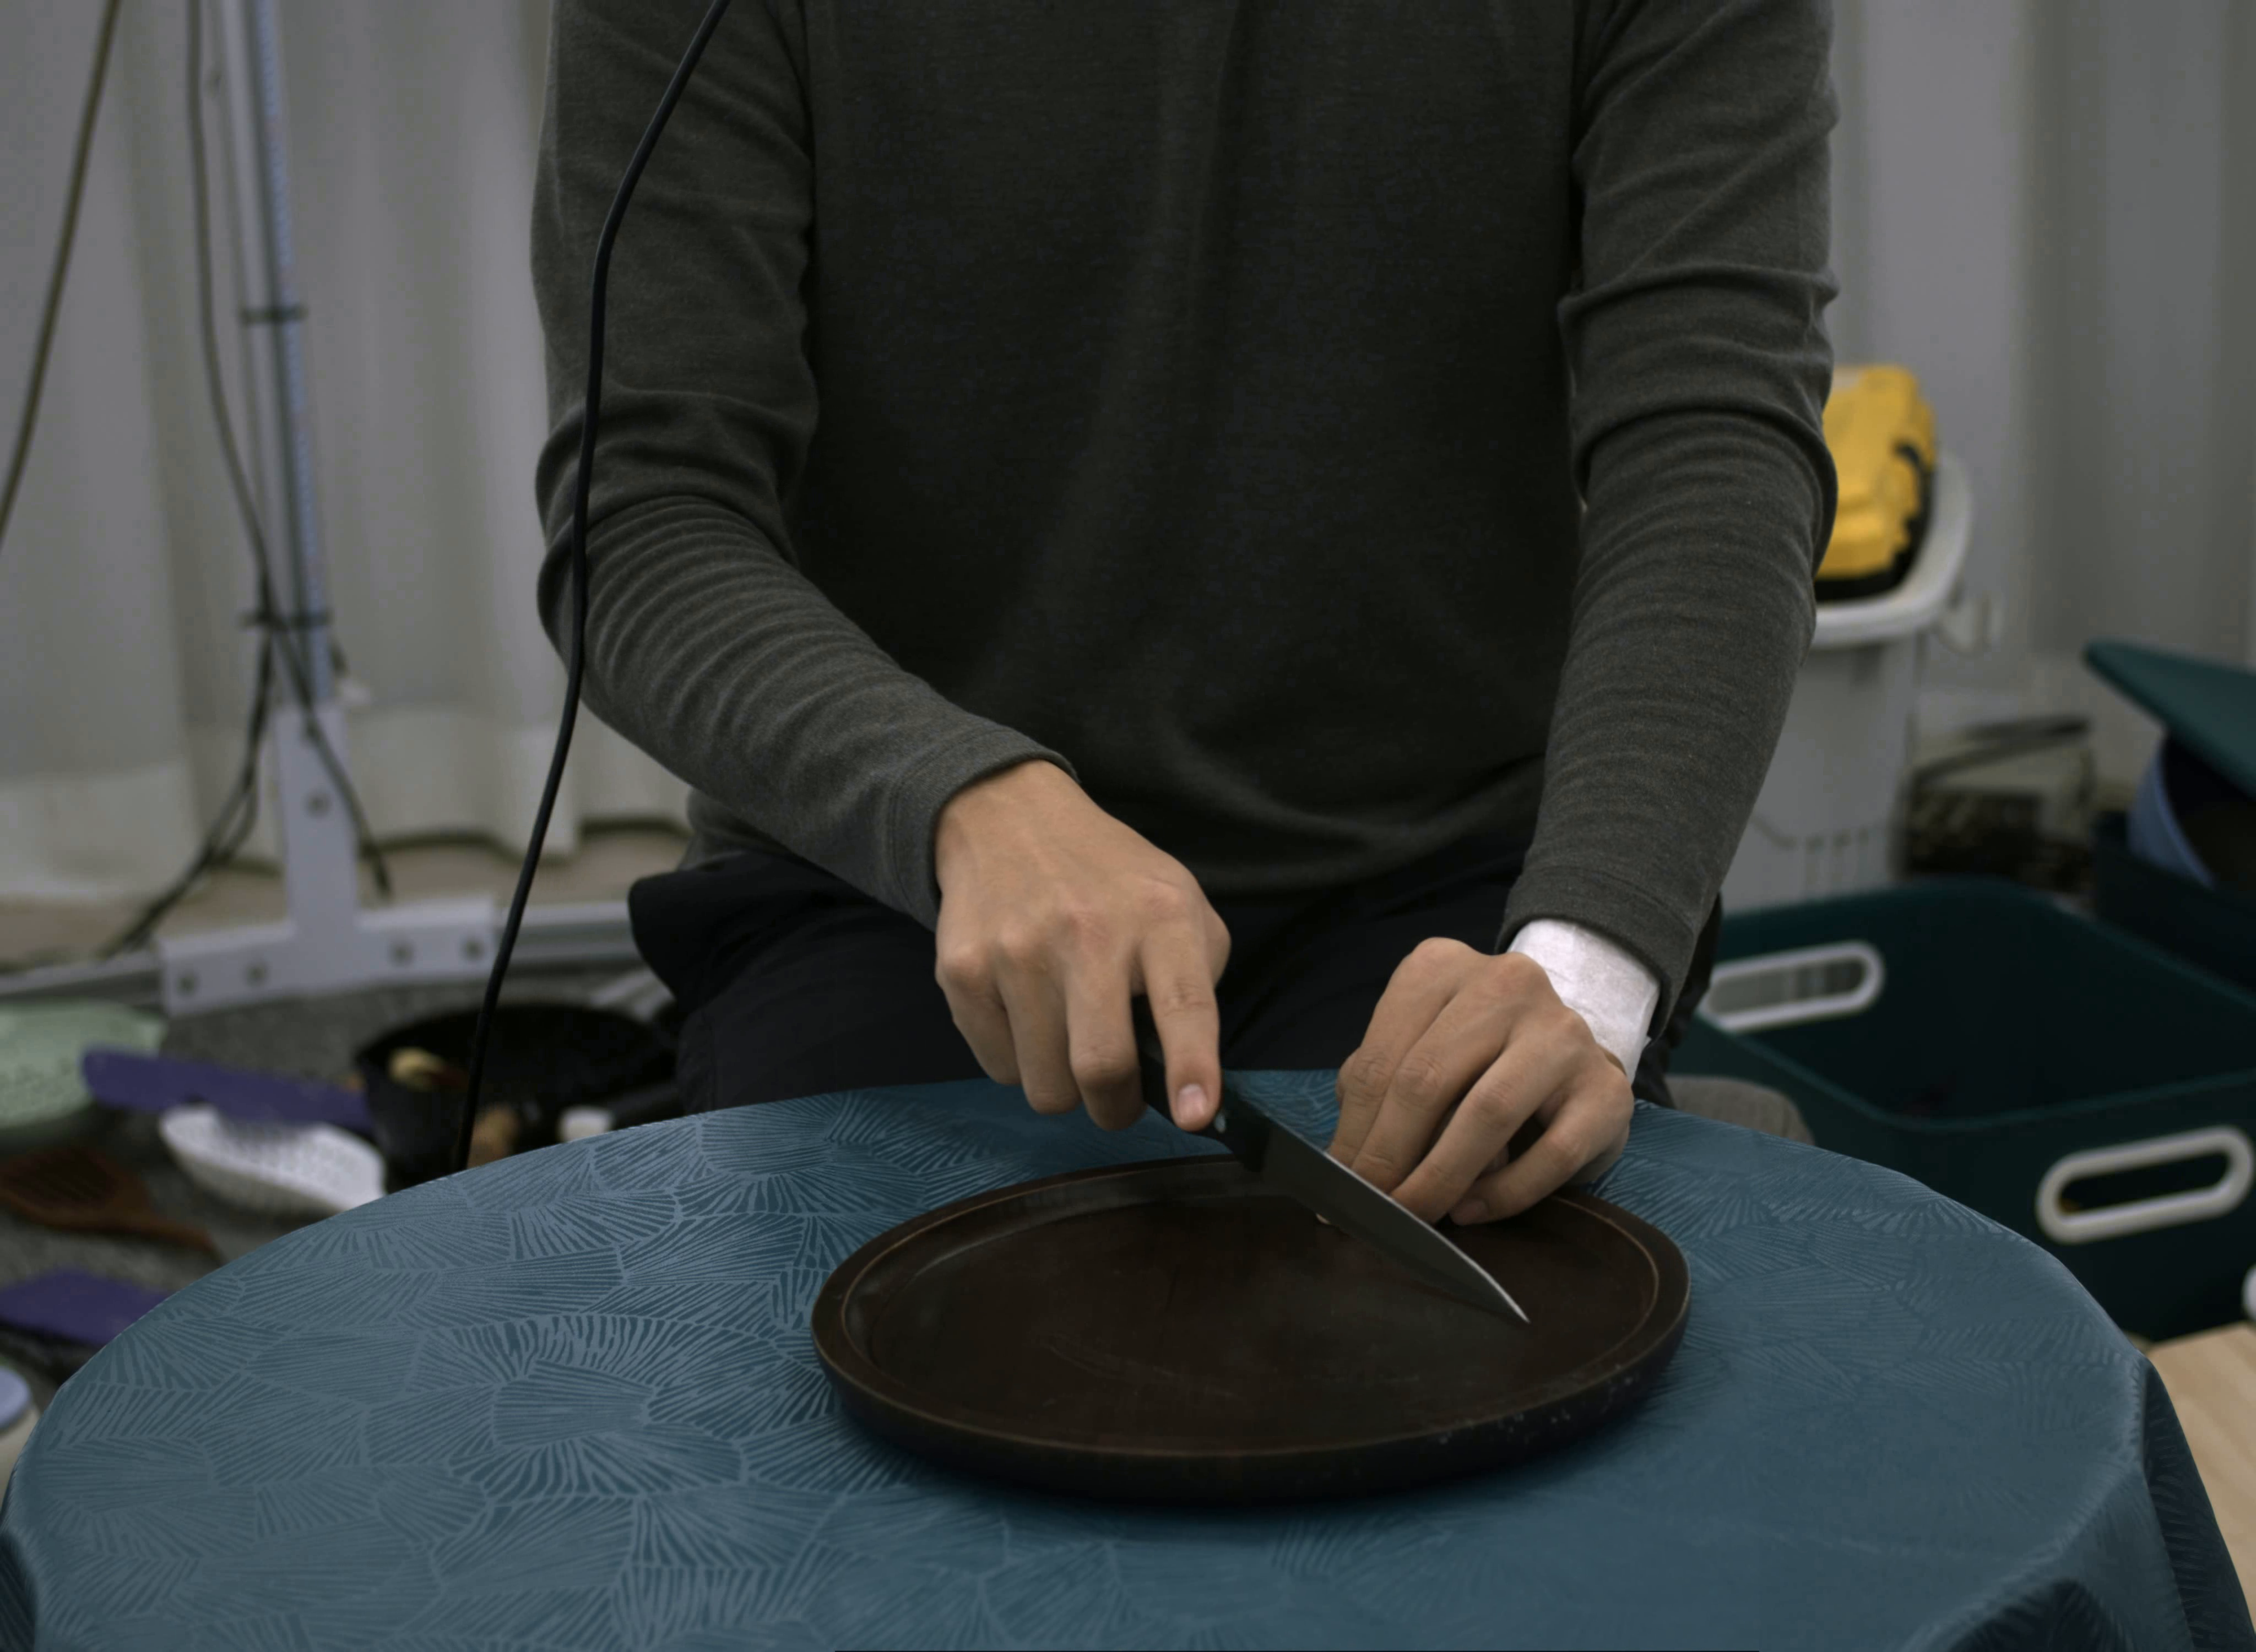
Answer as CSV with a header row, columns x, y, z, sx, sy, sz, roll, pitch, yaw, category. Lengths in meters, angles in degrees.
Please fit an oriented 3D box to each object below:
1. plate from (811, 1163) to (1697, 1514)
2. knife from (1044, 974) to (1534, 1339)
x,y,z,sx,sy,sz,roll,pitch,yaw,category
0.036,0.143,1.561,0.254,0.029,0.256,-2,16,0,plate
0.047,0.096,1.627,0.016,0.024,0.241,-3,24,-37,knife
